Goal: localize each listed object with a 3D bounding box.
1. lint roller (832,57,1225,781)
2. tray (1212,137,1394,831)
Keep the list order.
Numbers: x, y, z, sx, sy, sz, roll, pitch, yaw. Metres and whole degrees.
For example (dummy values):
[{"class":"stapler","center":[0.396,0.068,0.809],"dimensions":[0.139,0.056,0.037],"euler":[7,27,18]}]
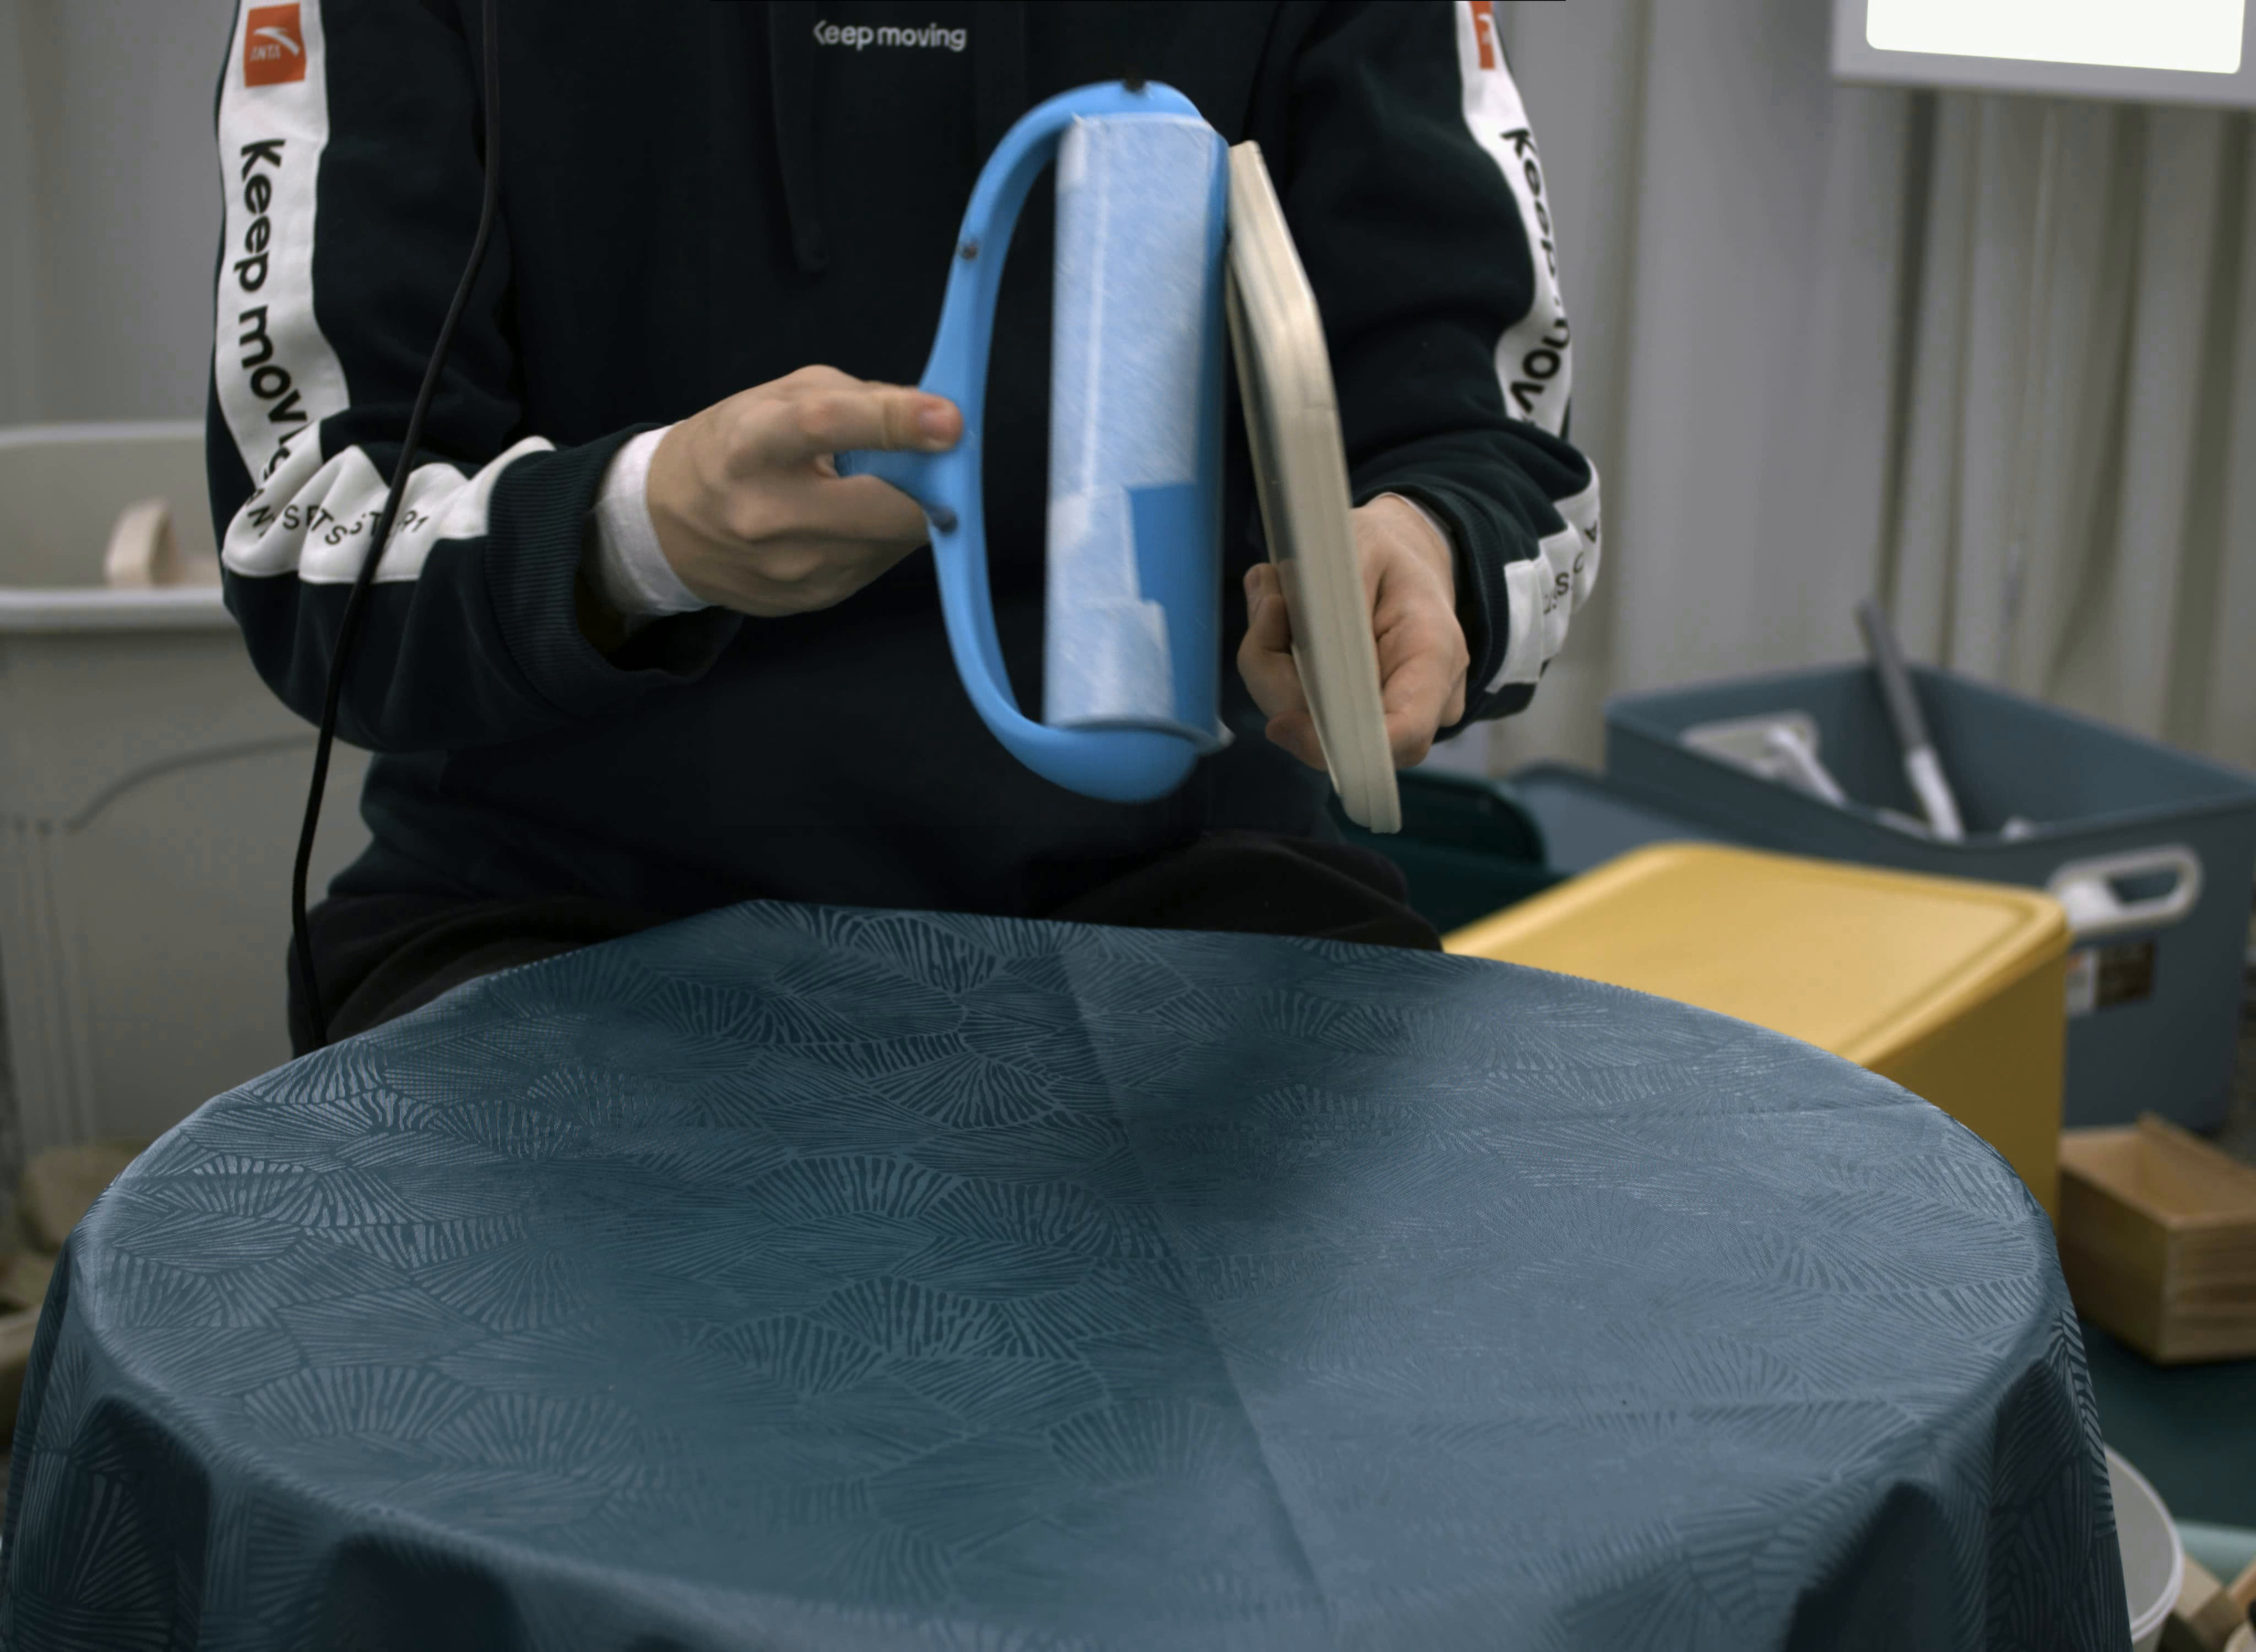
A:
[{"class":"lint roller","center":[-0.045,-0.115,1.644],"dimensions":[0.178,0.228,0.068],"euler":[-13,-17,39]},{"class":"tray","center":[0.050,-0.108,1.629],"dimensions":[0.017,0.173,0.238],"euler":[-11,22,0]}]
